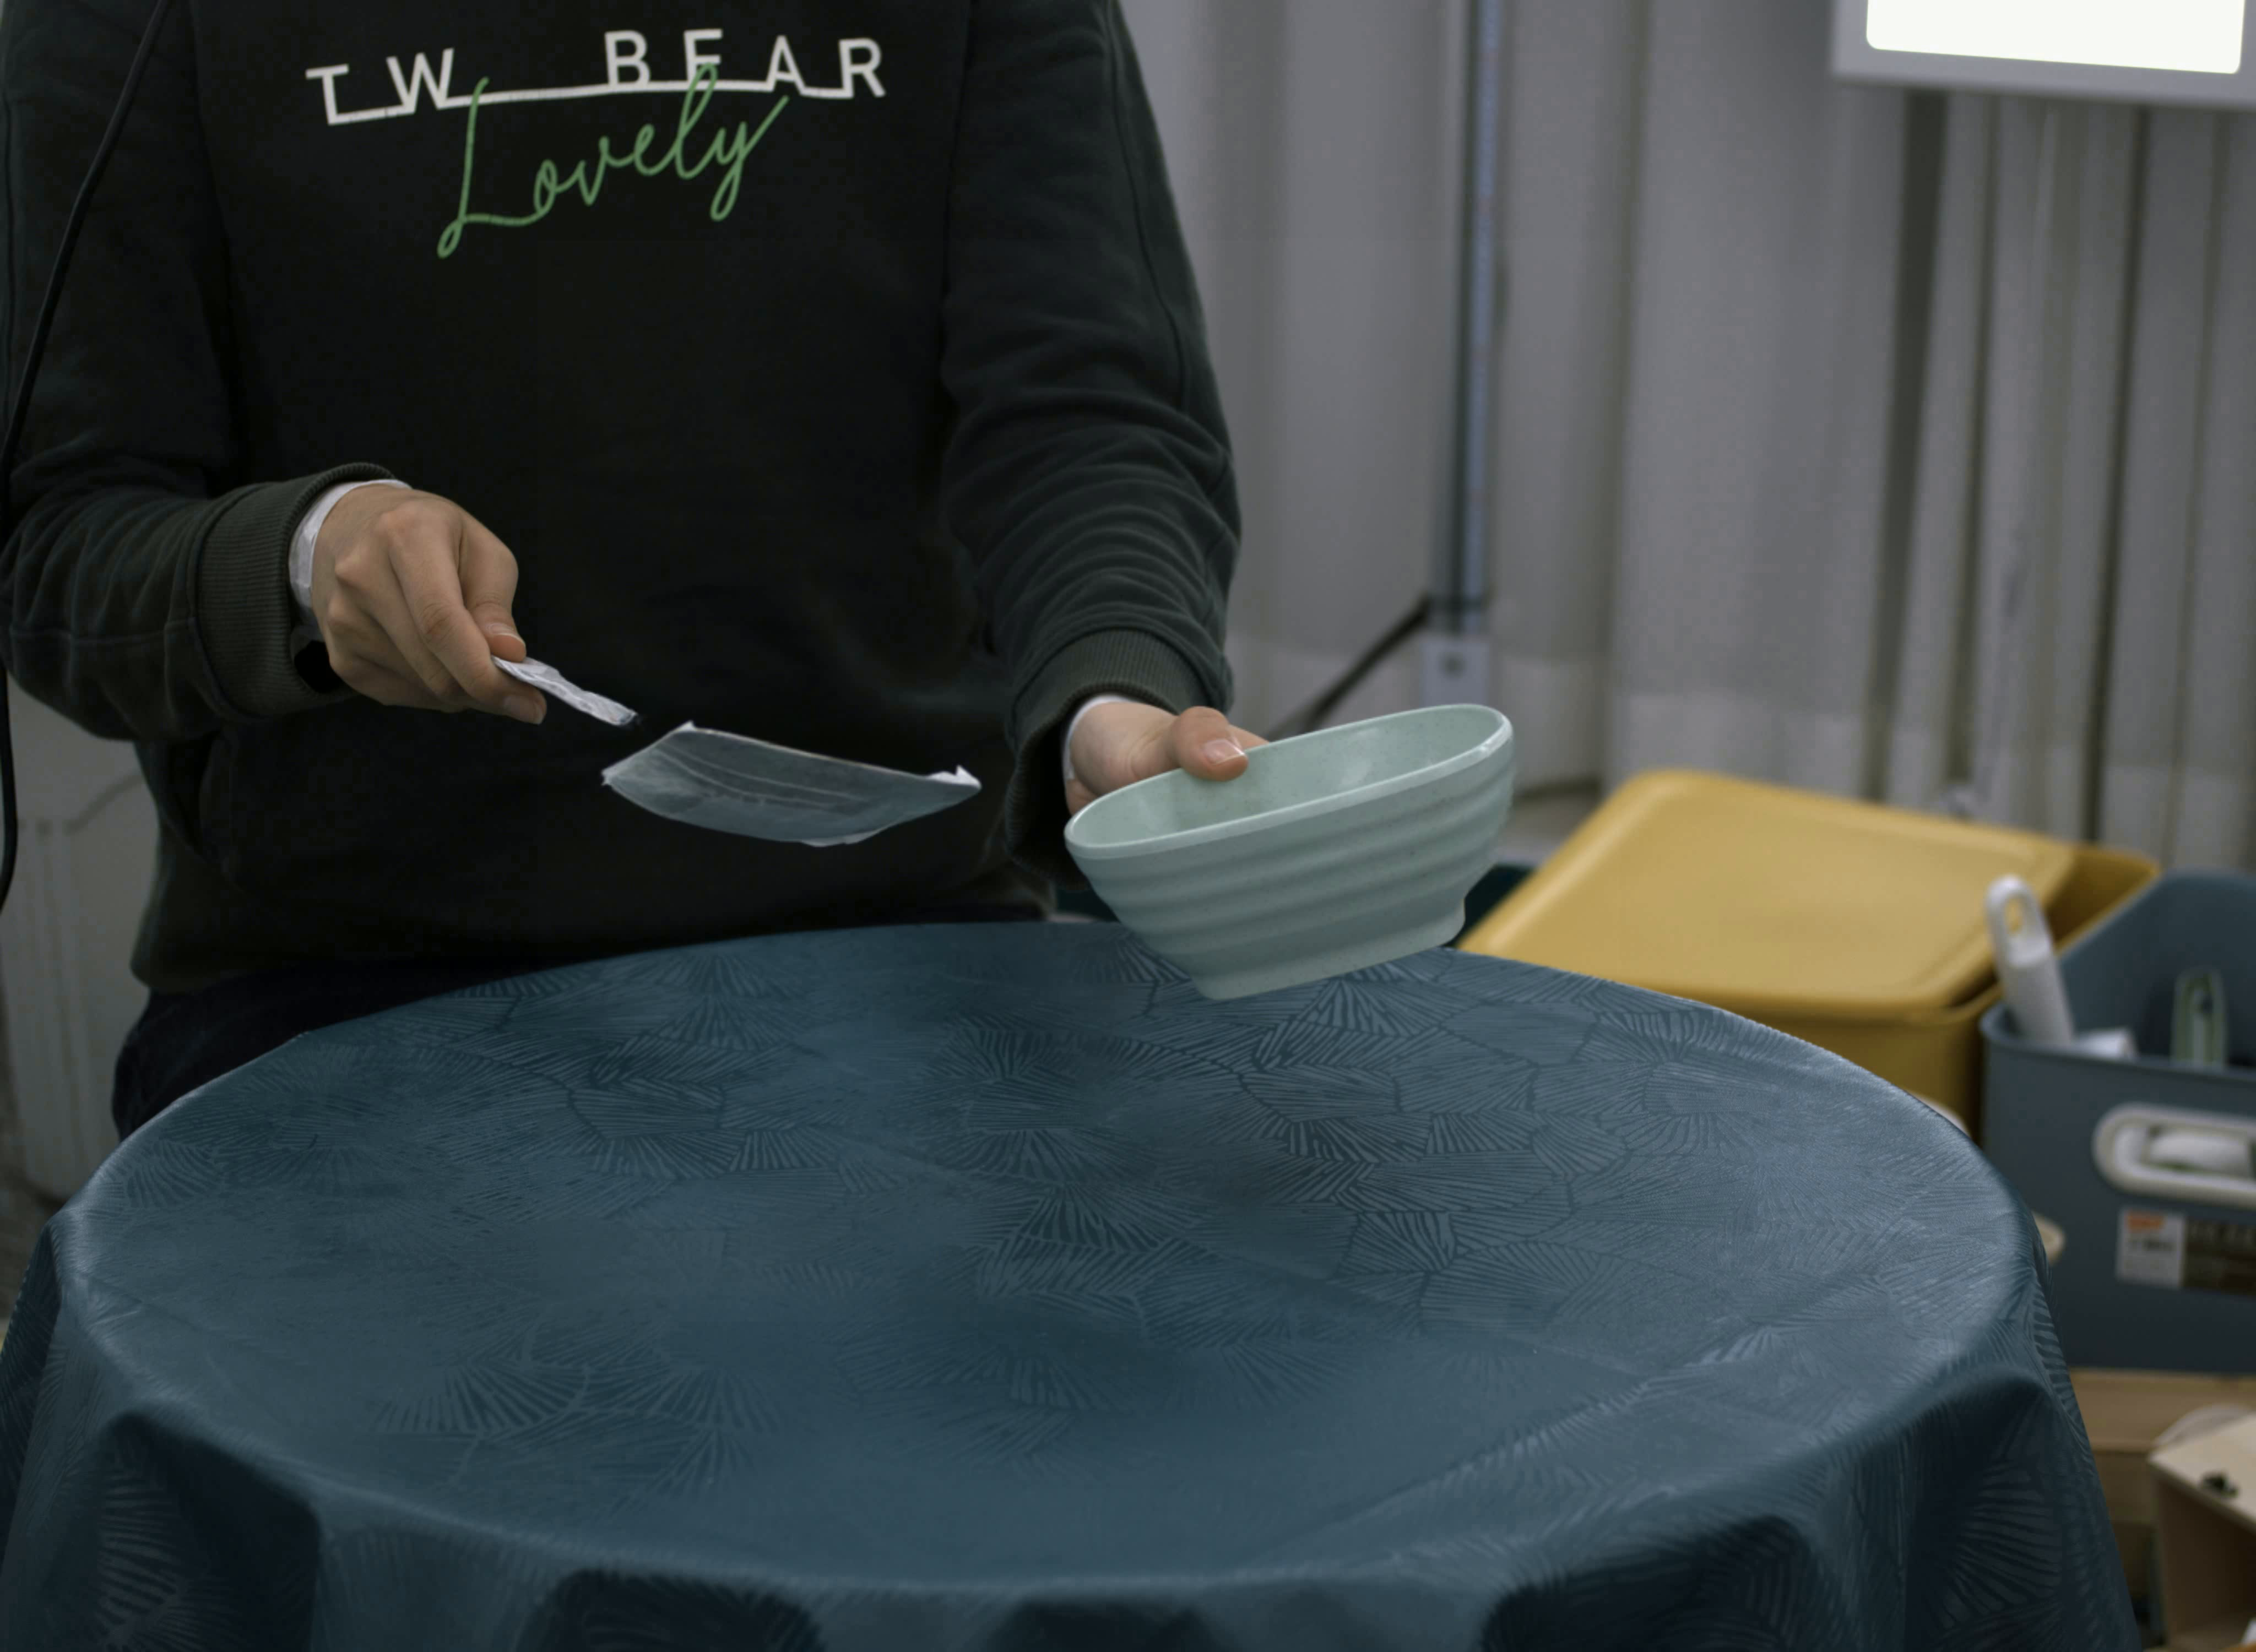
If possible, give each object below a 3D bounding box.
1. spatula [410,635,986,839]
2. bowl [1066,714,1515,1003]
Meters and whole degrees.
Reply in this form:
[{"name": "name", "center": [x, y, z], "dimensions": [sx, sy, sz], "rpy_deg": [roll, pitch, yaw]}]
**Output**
[{"name": "spatula", "center": [-0.157, -0.039, 1.612], "dimensions": [0.099, 0.045, 0.360], "rpy_deg": [9, 9, -28]}, {"name": "bowl", "center": [0.054, 0.013, 1.602], "dimensions": [0.151, 0.059, 0.151], "rpy_deg": [-11, 10, 3]}]
